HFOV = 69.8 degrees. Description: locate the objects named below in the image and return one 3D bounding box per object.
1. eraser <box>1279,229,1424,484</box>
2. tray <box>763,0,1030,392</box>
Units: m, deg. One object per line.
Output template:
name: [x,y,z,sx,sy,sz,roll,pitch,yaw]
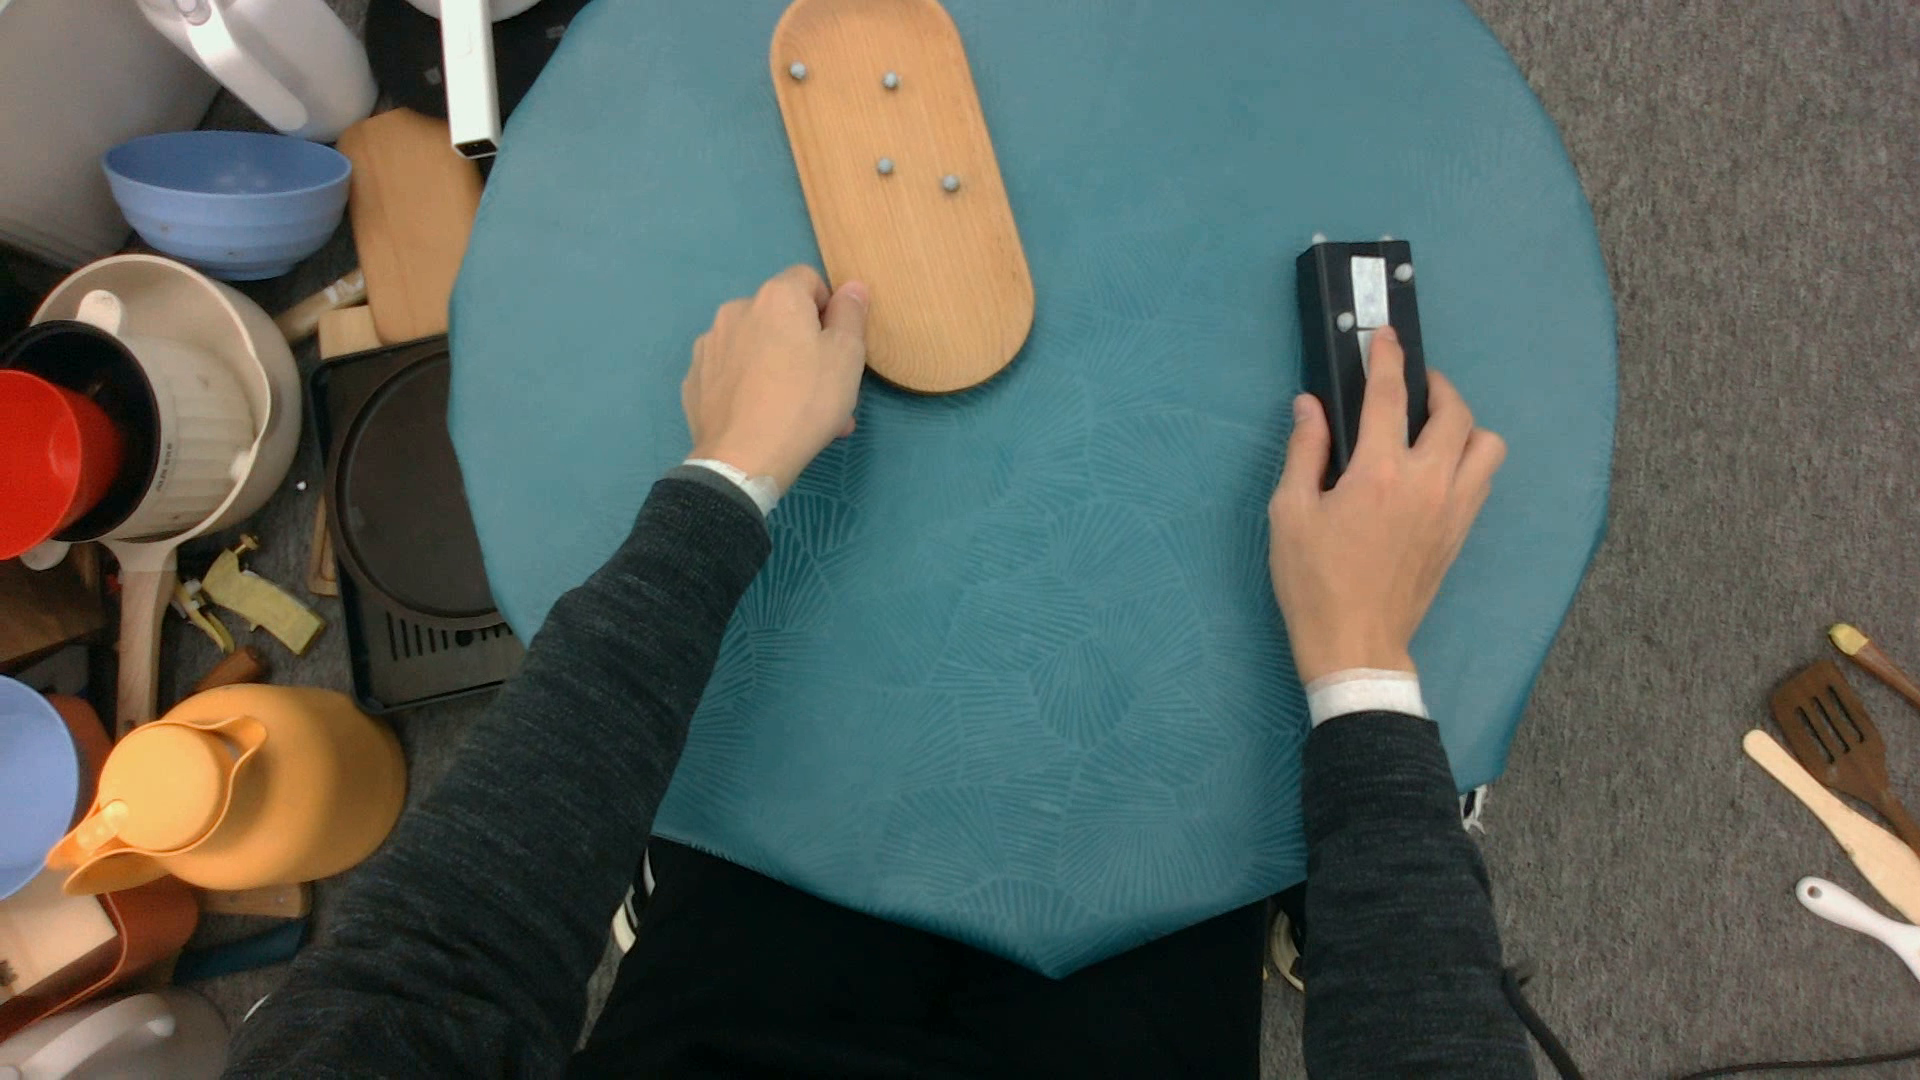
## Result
eraser: [0.194,-0.091,0.688,0.053,0.030,0.125,-4,81,-6]
tray: [-0.034,-0.186,0.714,0.102,0.020,0.231,-16,83,-4]
